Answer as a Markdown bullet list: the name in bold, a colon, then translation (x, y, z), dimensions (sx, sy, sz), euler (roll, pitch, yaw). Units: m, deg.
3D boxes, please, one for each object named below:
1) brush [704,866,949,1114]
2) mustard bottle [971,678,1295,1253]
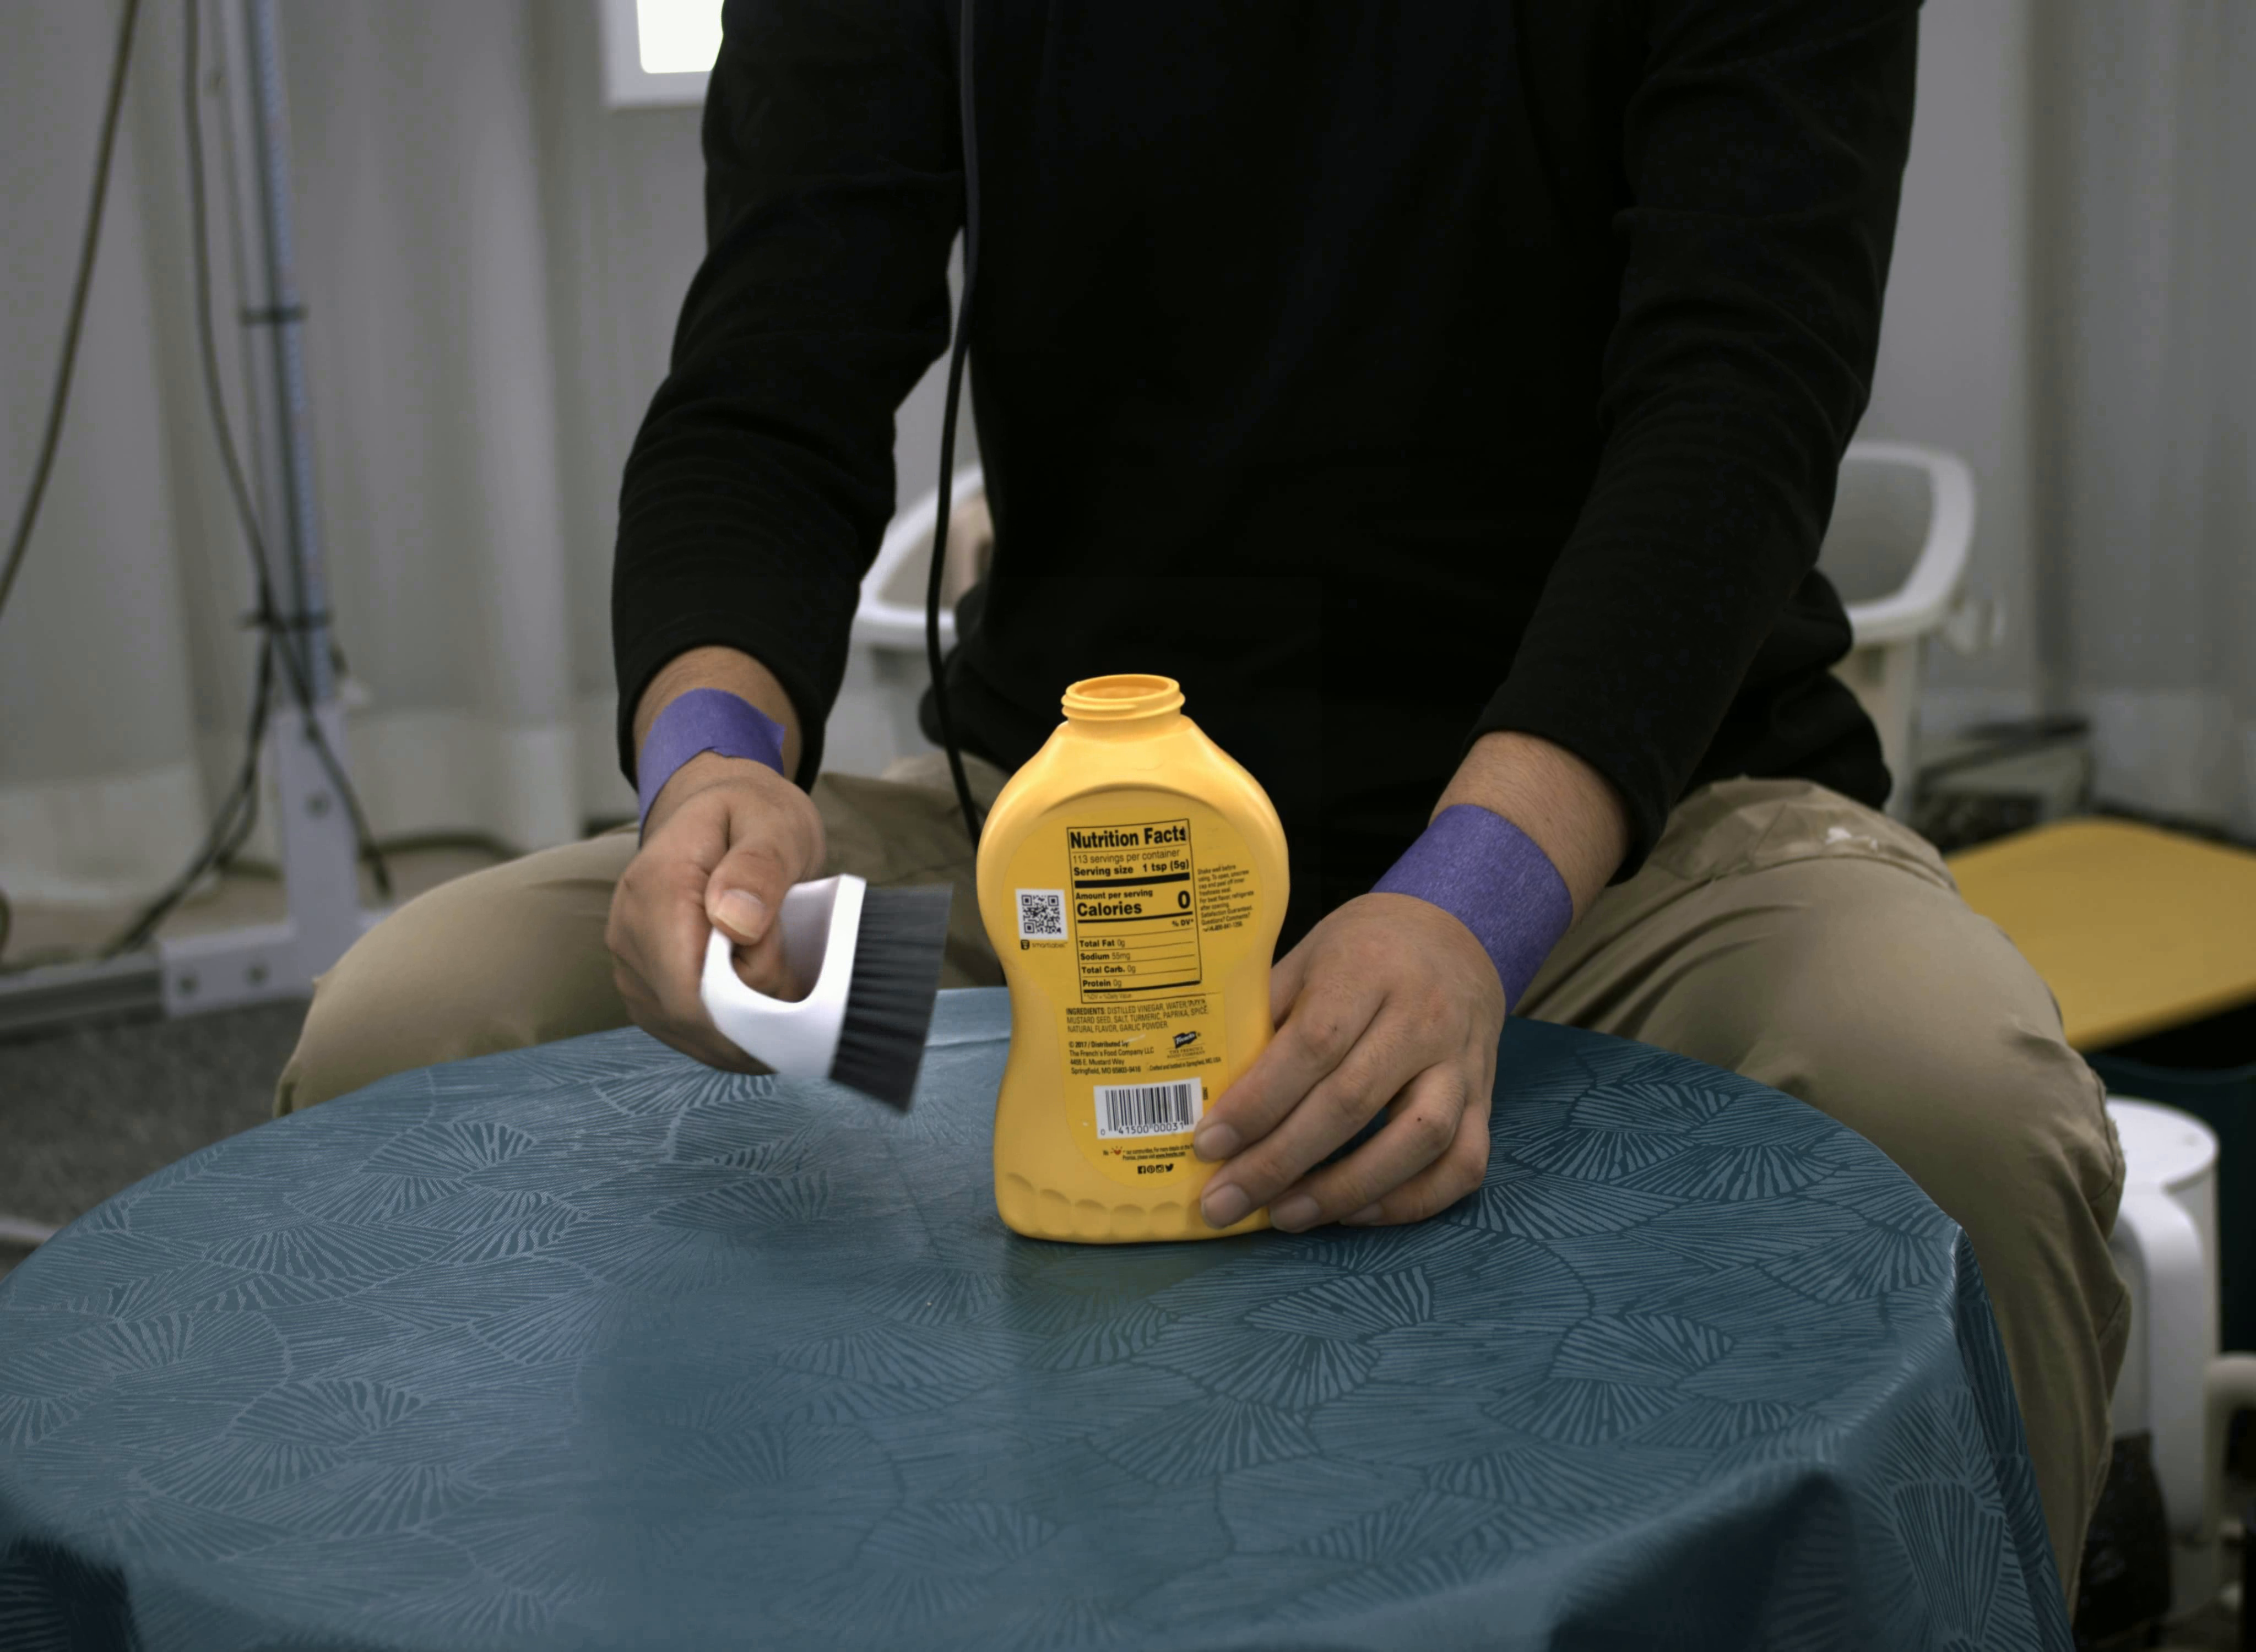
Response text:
- **brush**: translation (-0.095, 0.047, 1.696), dimensions (0.072, 0.050, 0.100), euler (10, 27, -4)
- **mustard bottle**: translation (0.000, 0.042, 1.667), dimensions (0.098, 0.171, 0.059), euler (-4, 10, -1)
